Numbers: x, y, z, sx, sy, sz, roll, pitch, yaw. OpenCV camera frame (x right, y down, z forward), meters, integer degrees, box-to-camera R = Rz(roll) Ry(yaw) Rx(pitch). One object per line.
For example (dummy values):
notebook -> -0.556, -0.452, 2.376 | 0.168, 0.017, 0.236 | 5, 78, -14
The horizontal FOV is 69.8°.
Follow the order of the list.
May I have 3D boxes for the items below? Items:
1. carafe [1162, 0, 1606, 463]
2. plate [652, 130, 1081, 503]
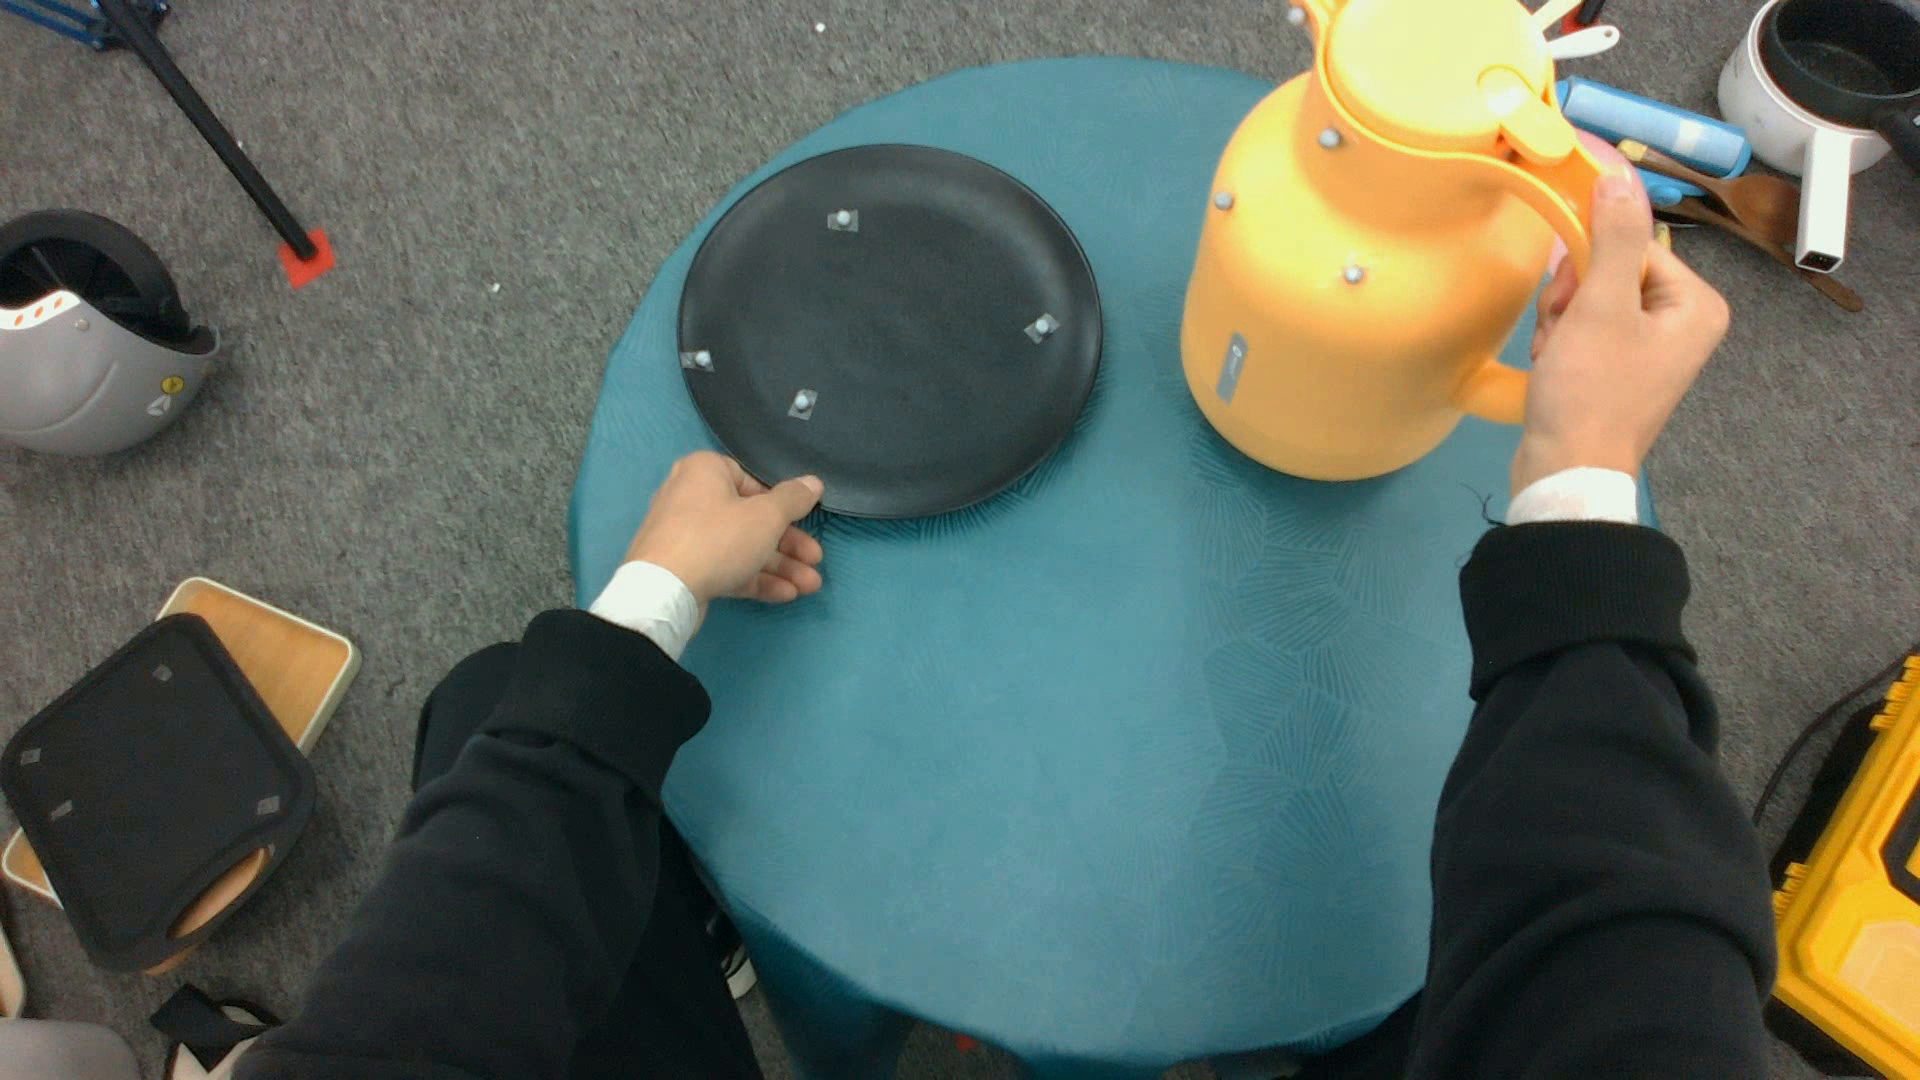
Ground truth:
carafe -> 0.200, -0.143, 0.673 | 0.164, 0.259, 0.202 | -35, 68, -12
plate -> -0.053, -0.130, 0.790 | 0.244, 0.023, 0.245 | 1, 68, -1
